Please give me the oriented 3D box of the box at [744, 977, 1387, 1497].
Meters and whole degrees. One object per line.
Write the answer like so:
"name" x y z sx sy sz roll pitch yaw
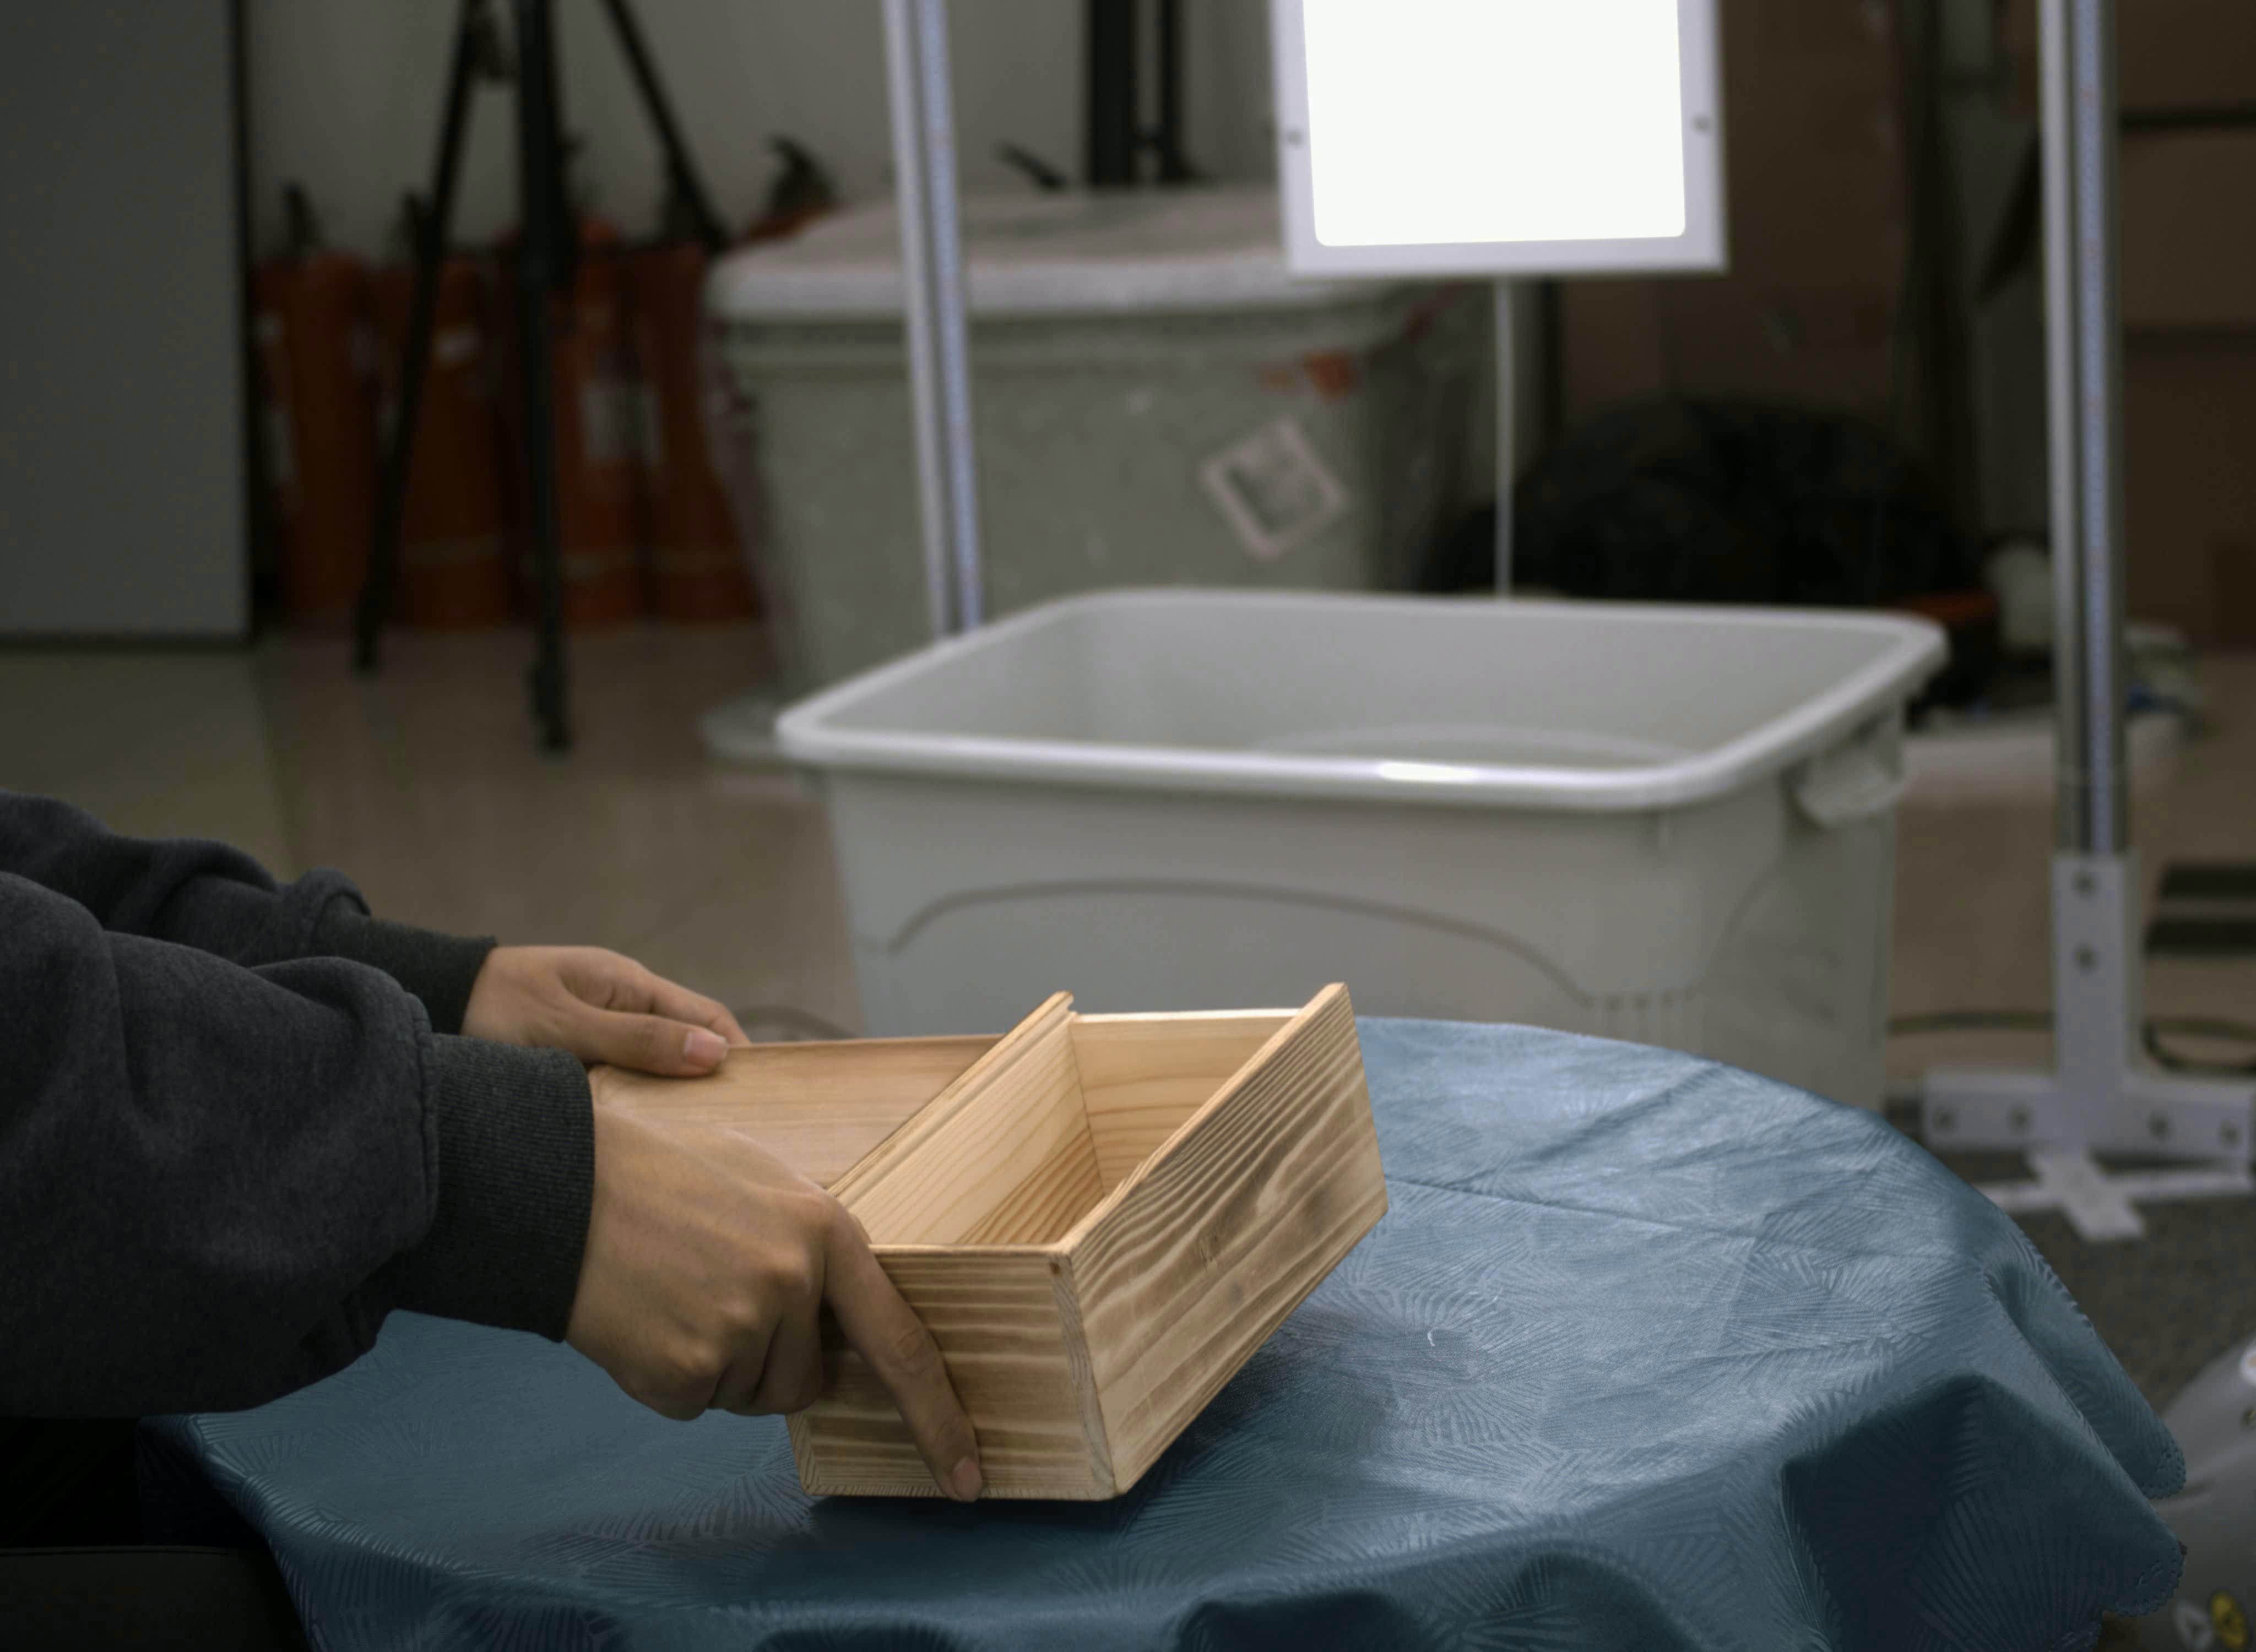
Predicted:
"box" -0.015 0.122 1.676 0.109 0.080 0.207 -3 19 28

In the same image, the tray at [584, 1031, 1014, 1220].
"tray" -0.063 0.103 1.920 0.249 0.023 0.130 -2 18 -4
